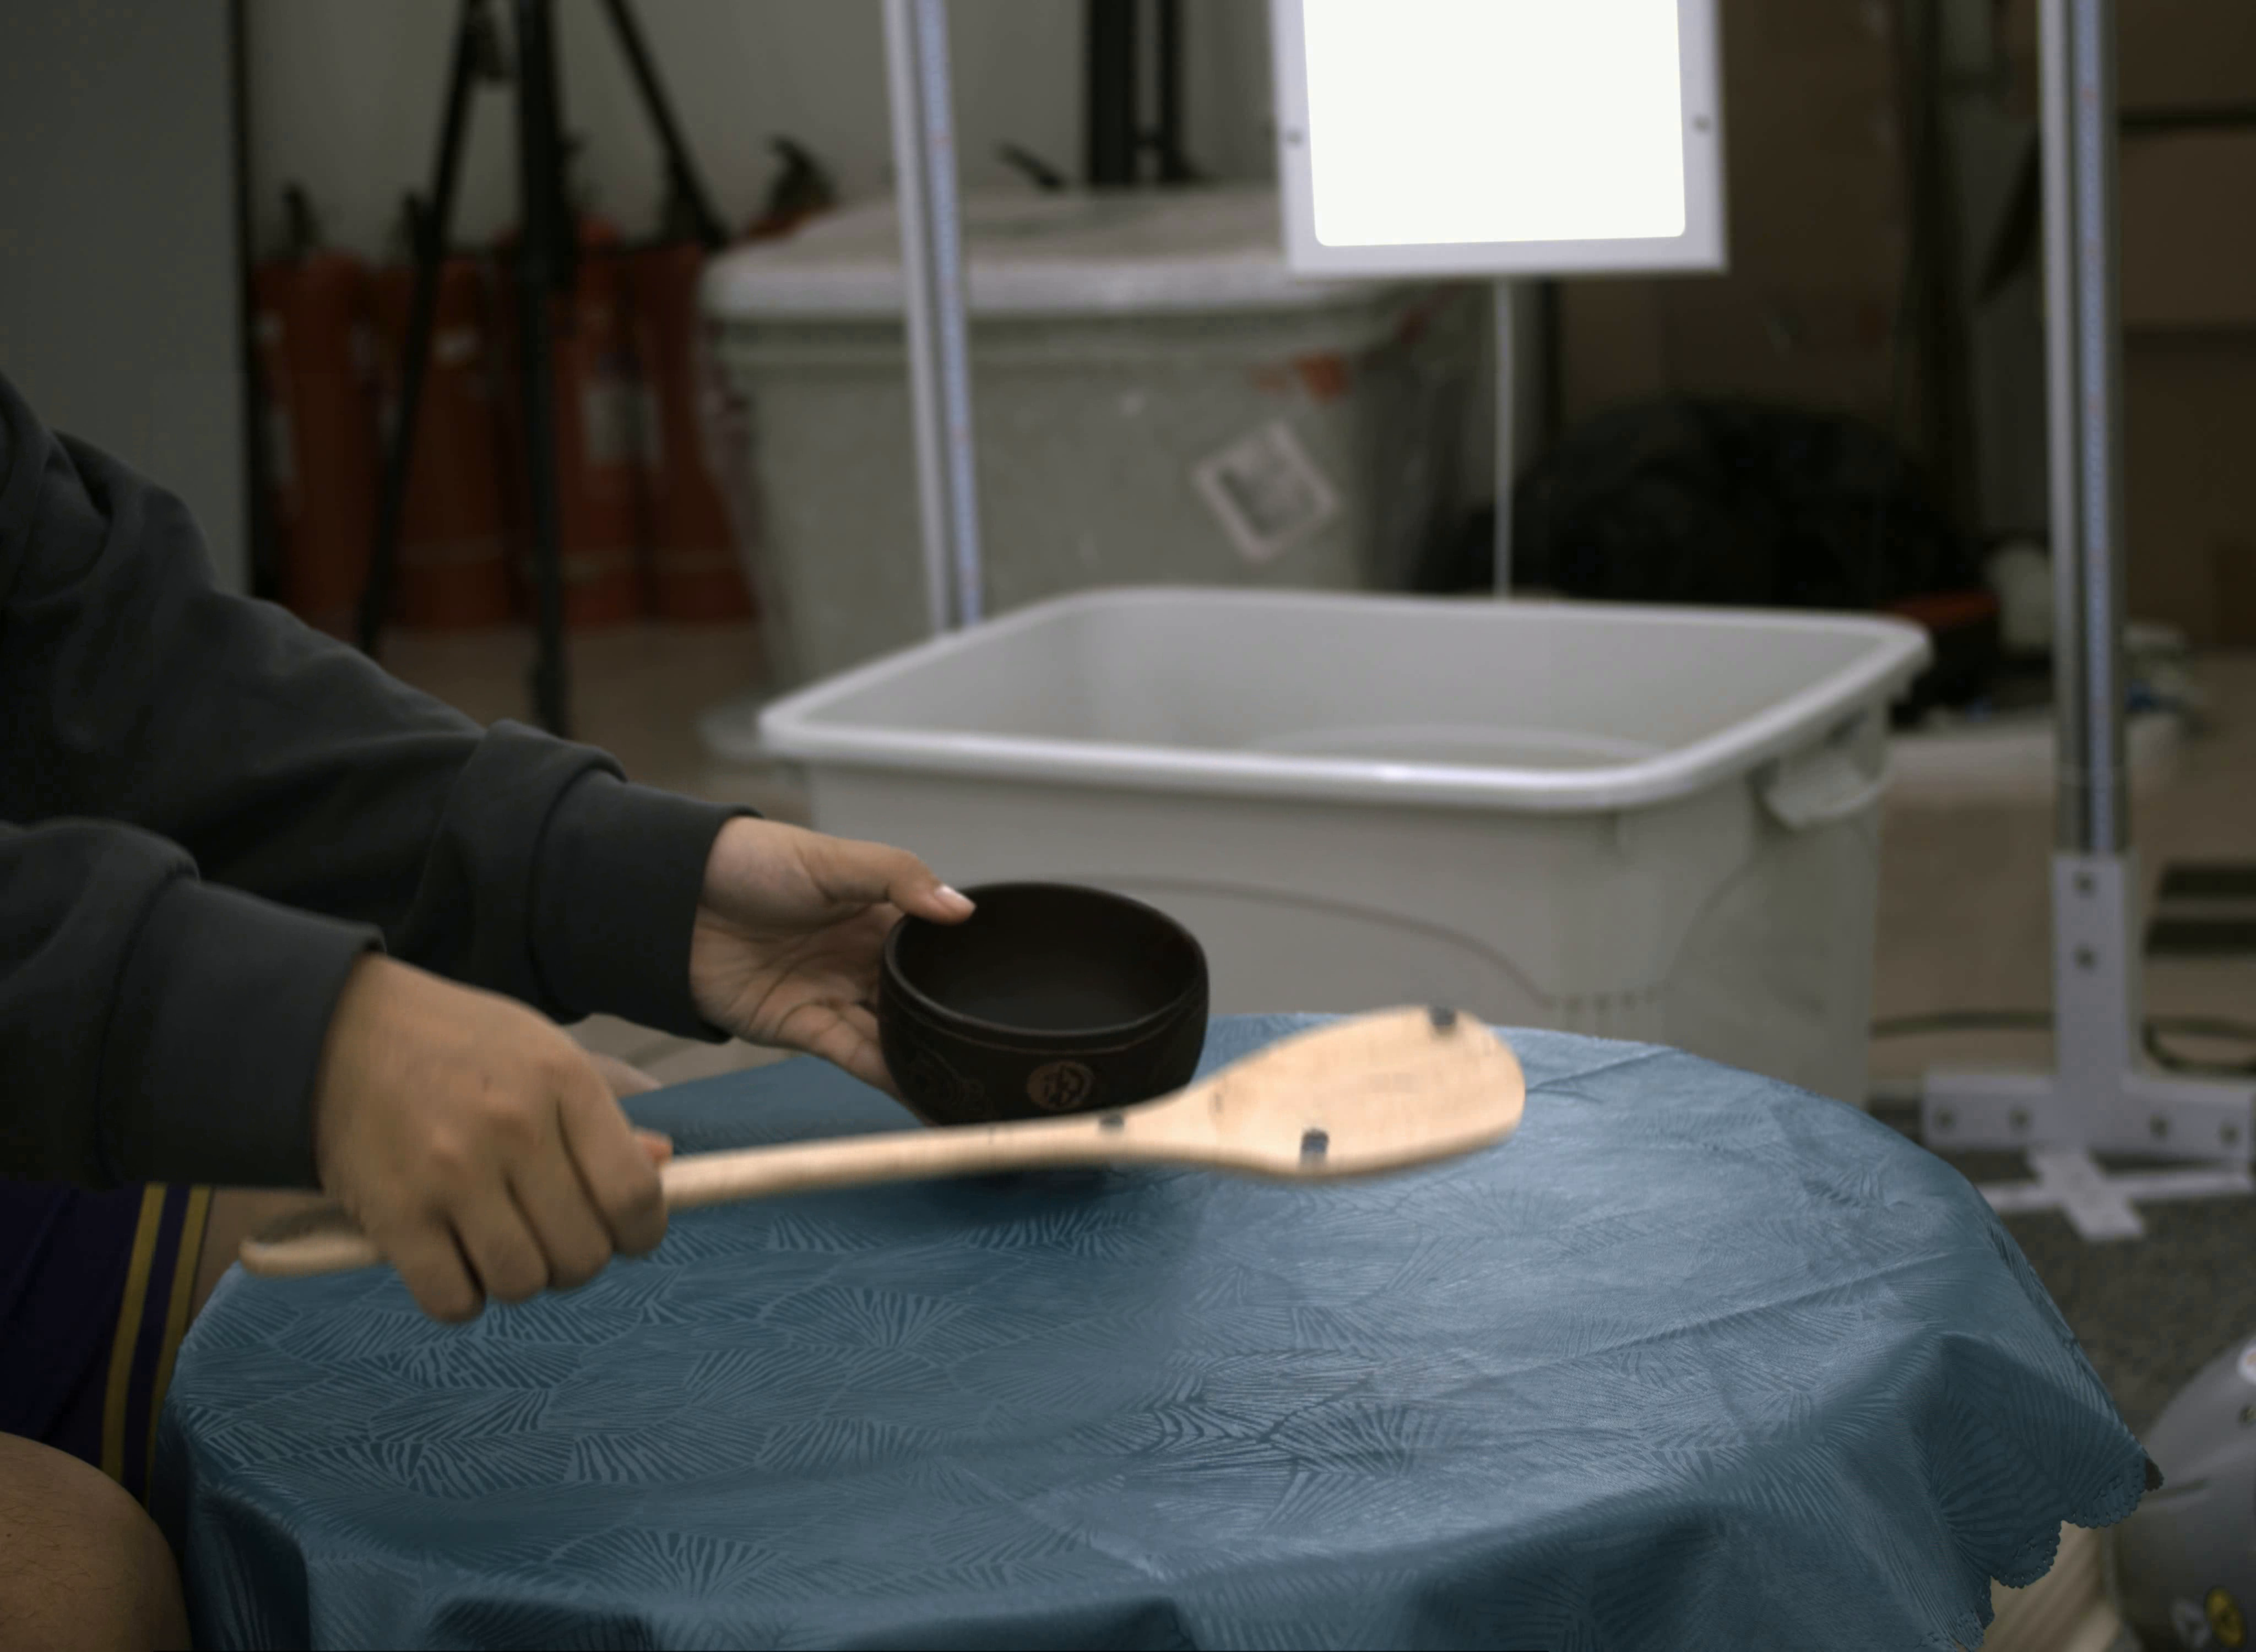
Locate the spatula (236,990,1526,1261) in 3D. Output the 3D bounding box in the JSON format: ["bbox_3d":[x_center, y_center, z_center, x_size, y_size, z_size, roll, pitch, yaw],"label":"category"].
[{"bbox_3d":[-0.072,0.096,1.651,0.388,0.018,0.096,-7,21,-5],"label":"spatula"}]

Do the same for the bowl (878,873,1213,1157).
[{"bbox_3d":[-0.030,0.073,1.933,0.117,0.070,0.118,2,26,-2],"label":"bowl"}]
